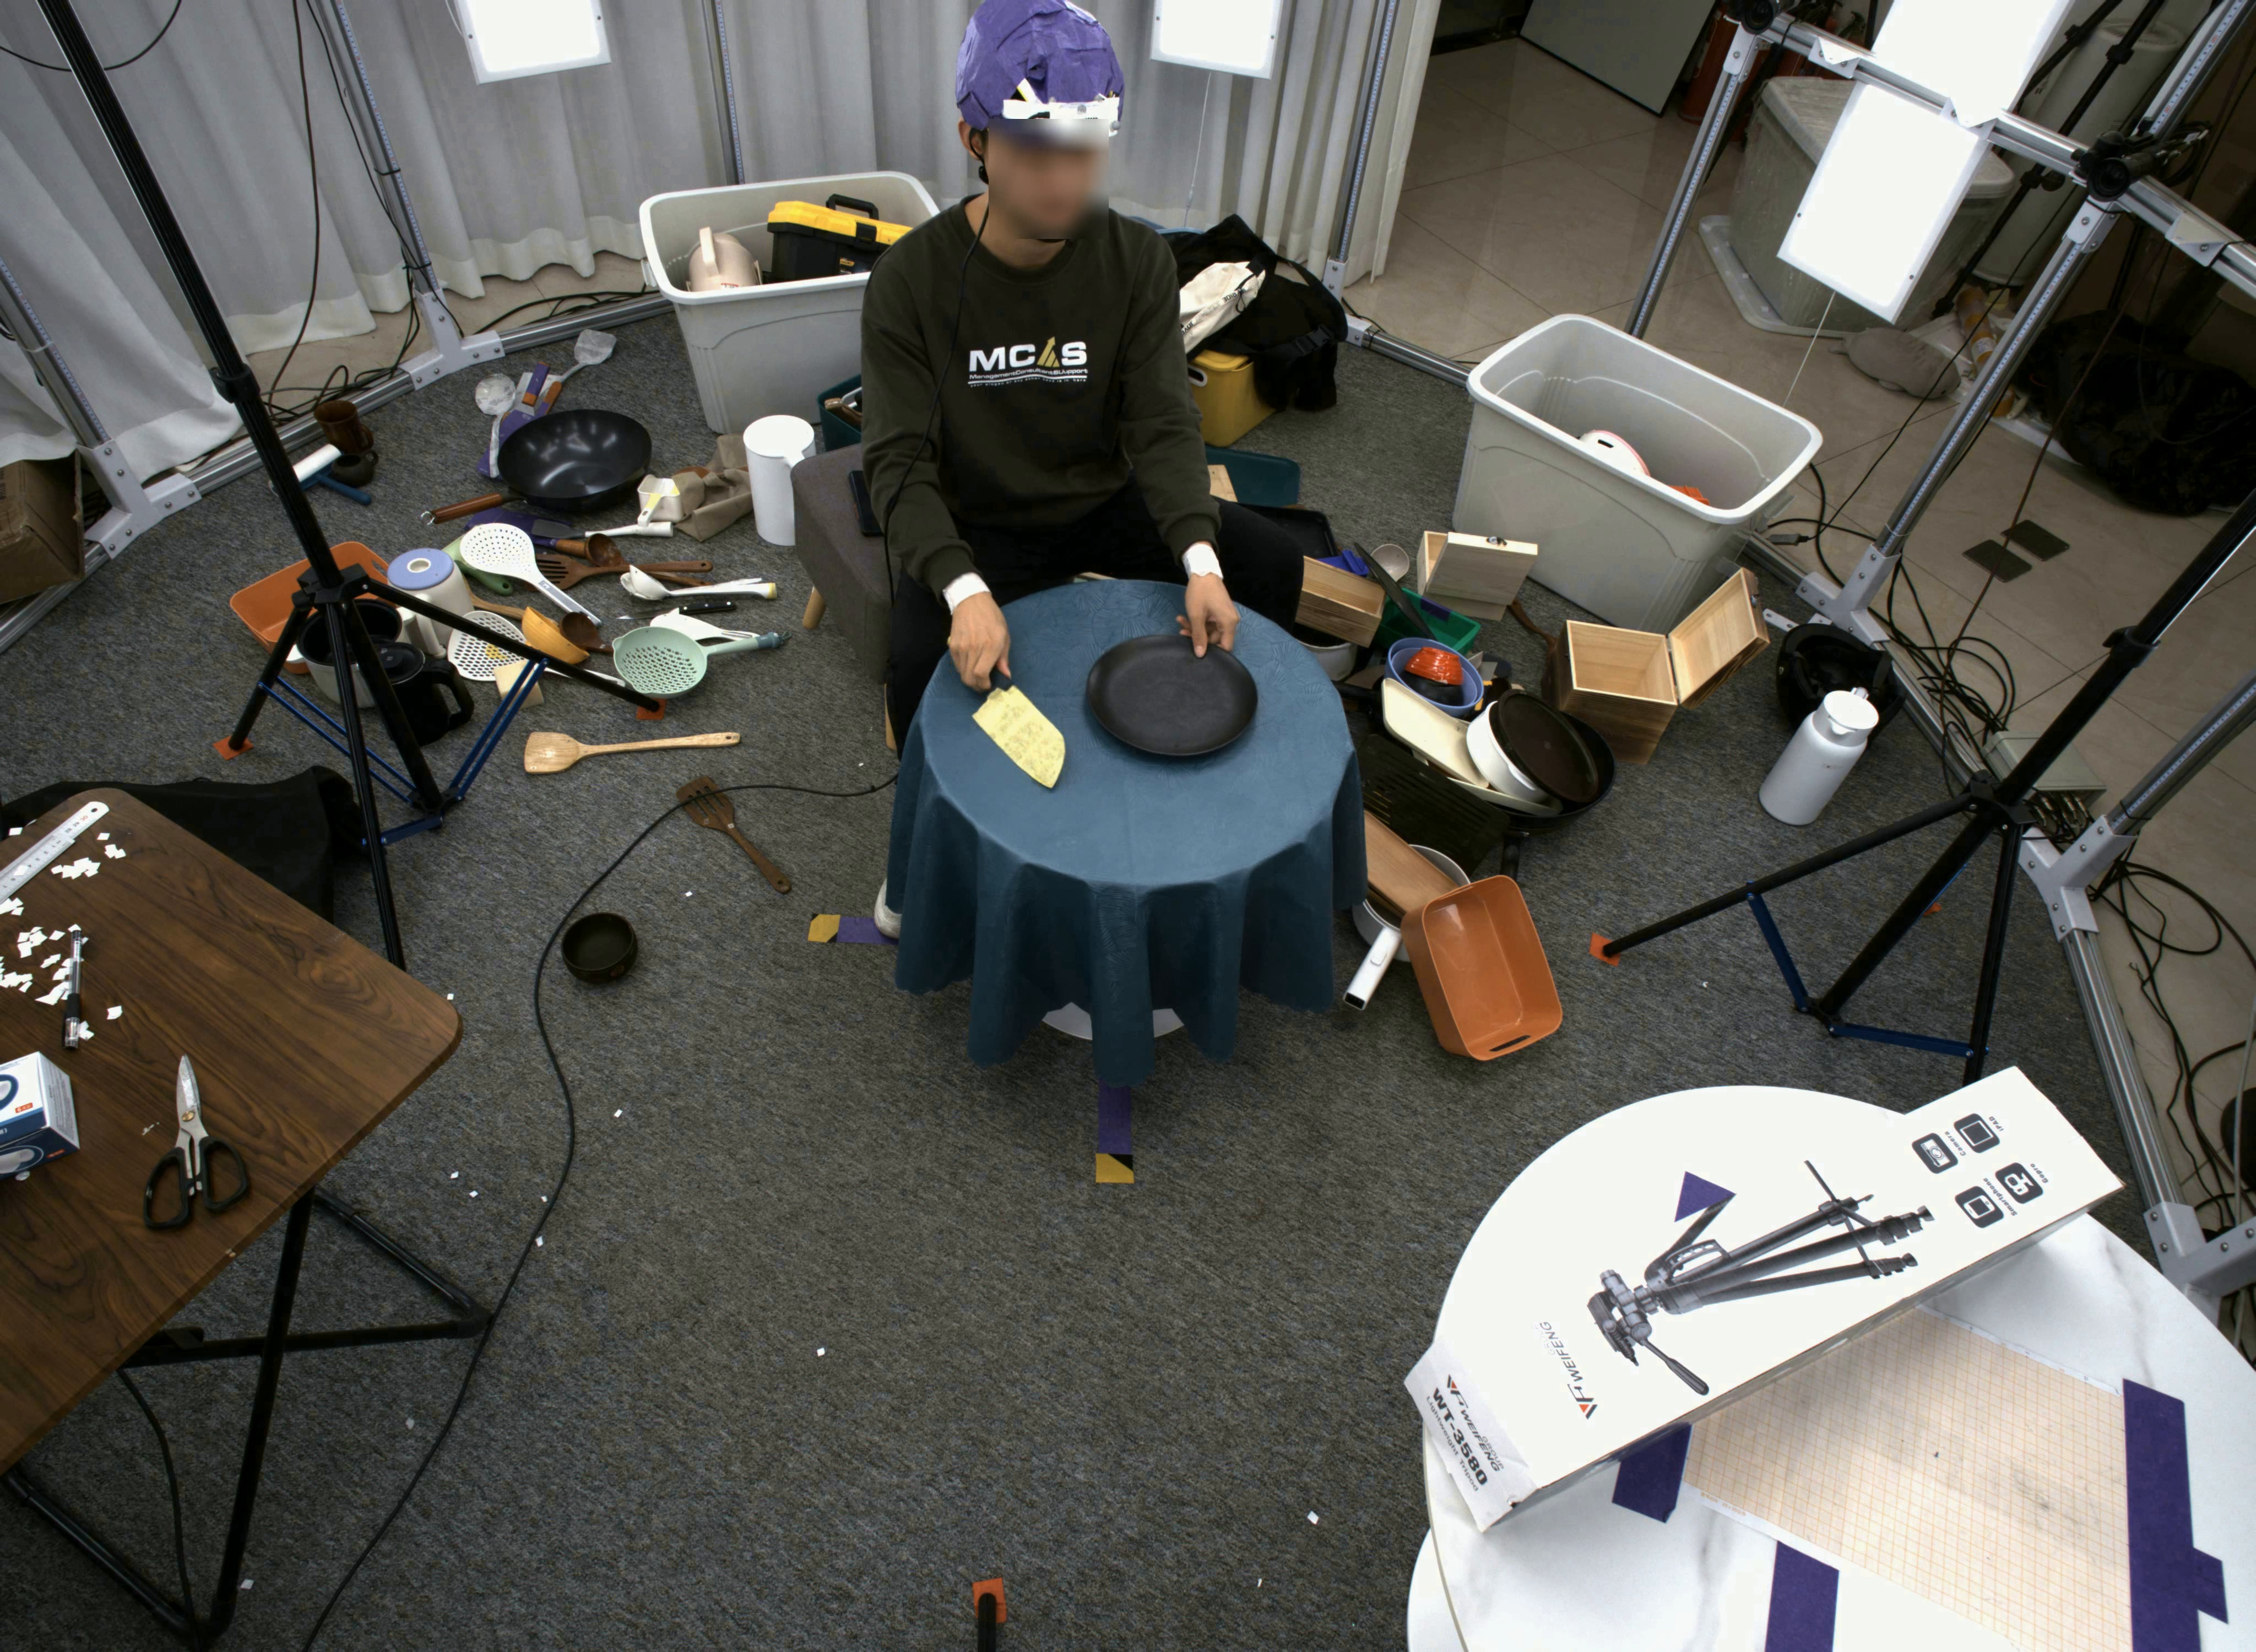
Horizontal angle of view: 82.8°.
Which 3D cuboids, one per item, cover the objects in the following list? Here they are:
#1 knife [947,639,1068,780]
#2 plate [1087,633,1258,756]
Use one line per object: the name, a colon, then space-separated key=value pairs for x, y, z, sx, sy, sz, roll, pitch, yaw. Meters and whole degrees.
knife: x=-0.175 y=-0.161 z=1.770 sx=0.081 sy=0.027 sz=0.295 roll=-40 pitch=60 yaw=-3
plate: x=0.062 y=-0.183 z=1.815 sx=0.244 sy=0.023 sz=0.250 roll=2 pitch=49 yaw=-2
